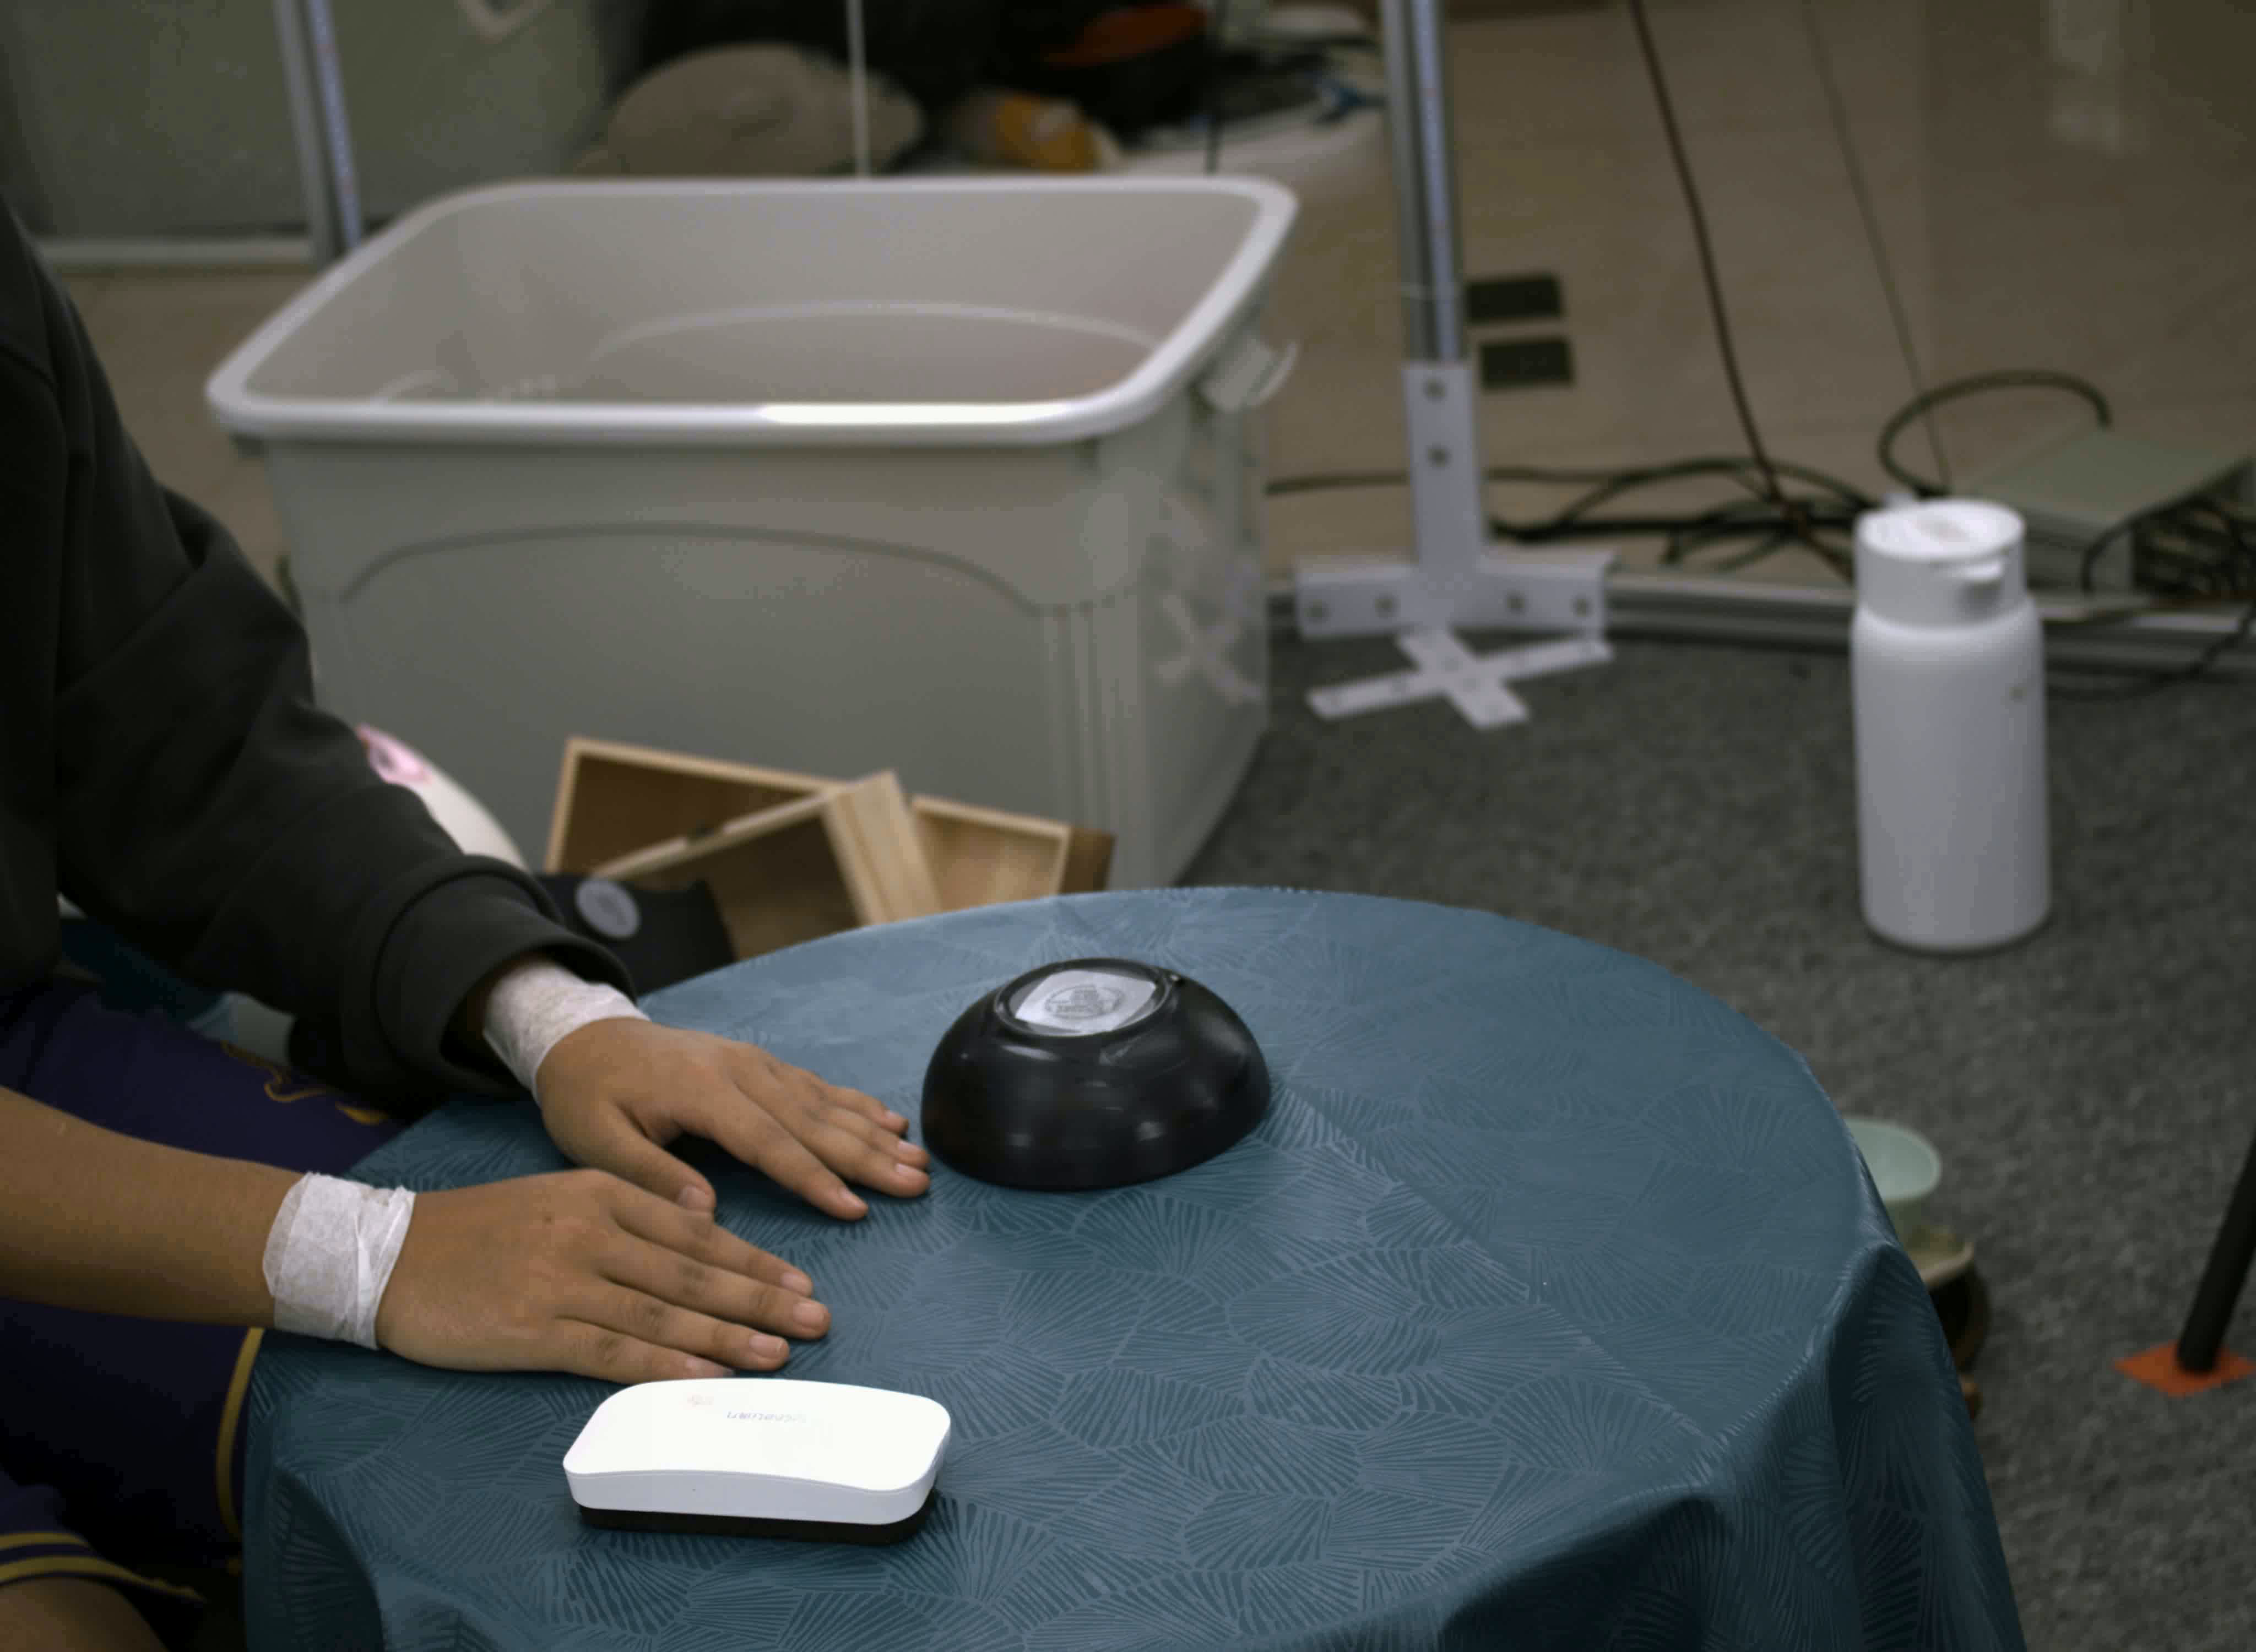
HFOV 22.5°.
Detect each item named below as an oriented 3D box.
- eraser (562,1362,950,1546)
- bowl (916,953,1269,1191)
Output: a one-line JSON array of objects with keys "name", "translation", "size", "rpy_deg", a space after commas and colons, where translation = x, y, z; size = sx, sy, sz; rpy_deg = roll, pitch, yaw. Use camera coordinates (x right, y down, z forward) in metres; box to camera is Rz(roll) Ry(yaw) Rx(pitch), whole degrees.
[{"name": "eraser", "translation": [-0.128, 0.218, 1.971], "size": [0.131, 0.035, 0.062], "rpy_deg": [4, 26, 17]}, {"name": "bowl", "translation": [-0.016, 0.087, 2.201], "size": [0.140, 0.050, 0.138], "rpy_deg": [-5, 27, 3]}]
